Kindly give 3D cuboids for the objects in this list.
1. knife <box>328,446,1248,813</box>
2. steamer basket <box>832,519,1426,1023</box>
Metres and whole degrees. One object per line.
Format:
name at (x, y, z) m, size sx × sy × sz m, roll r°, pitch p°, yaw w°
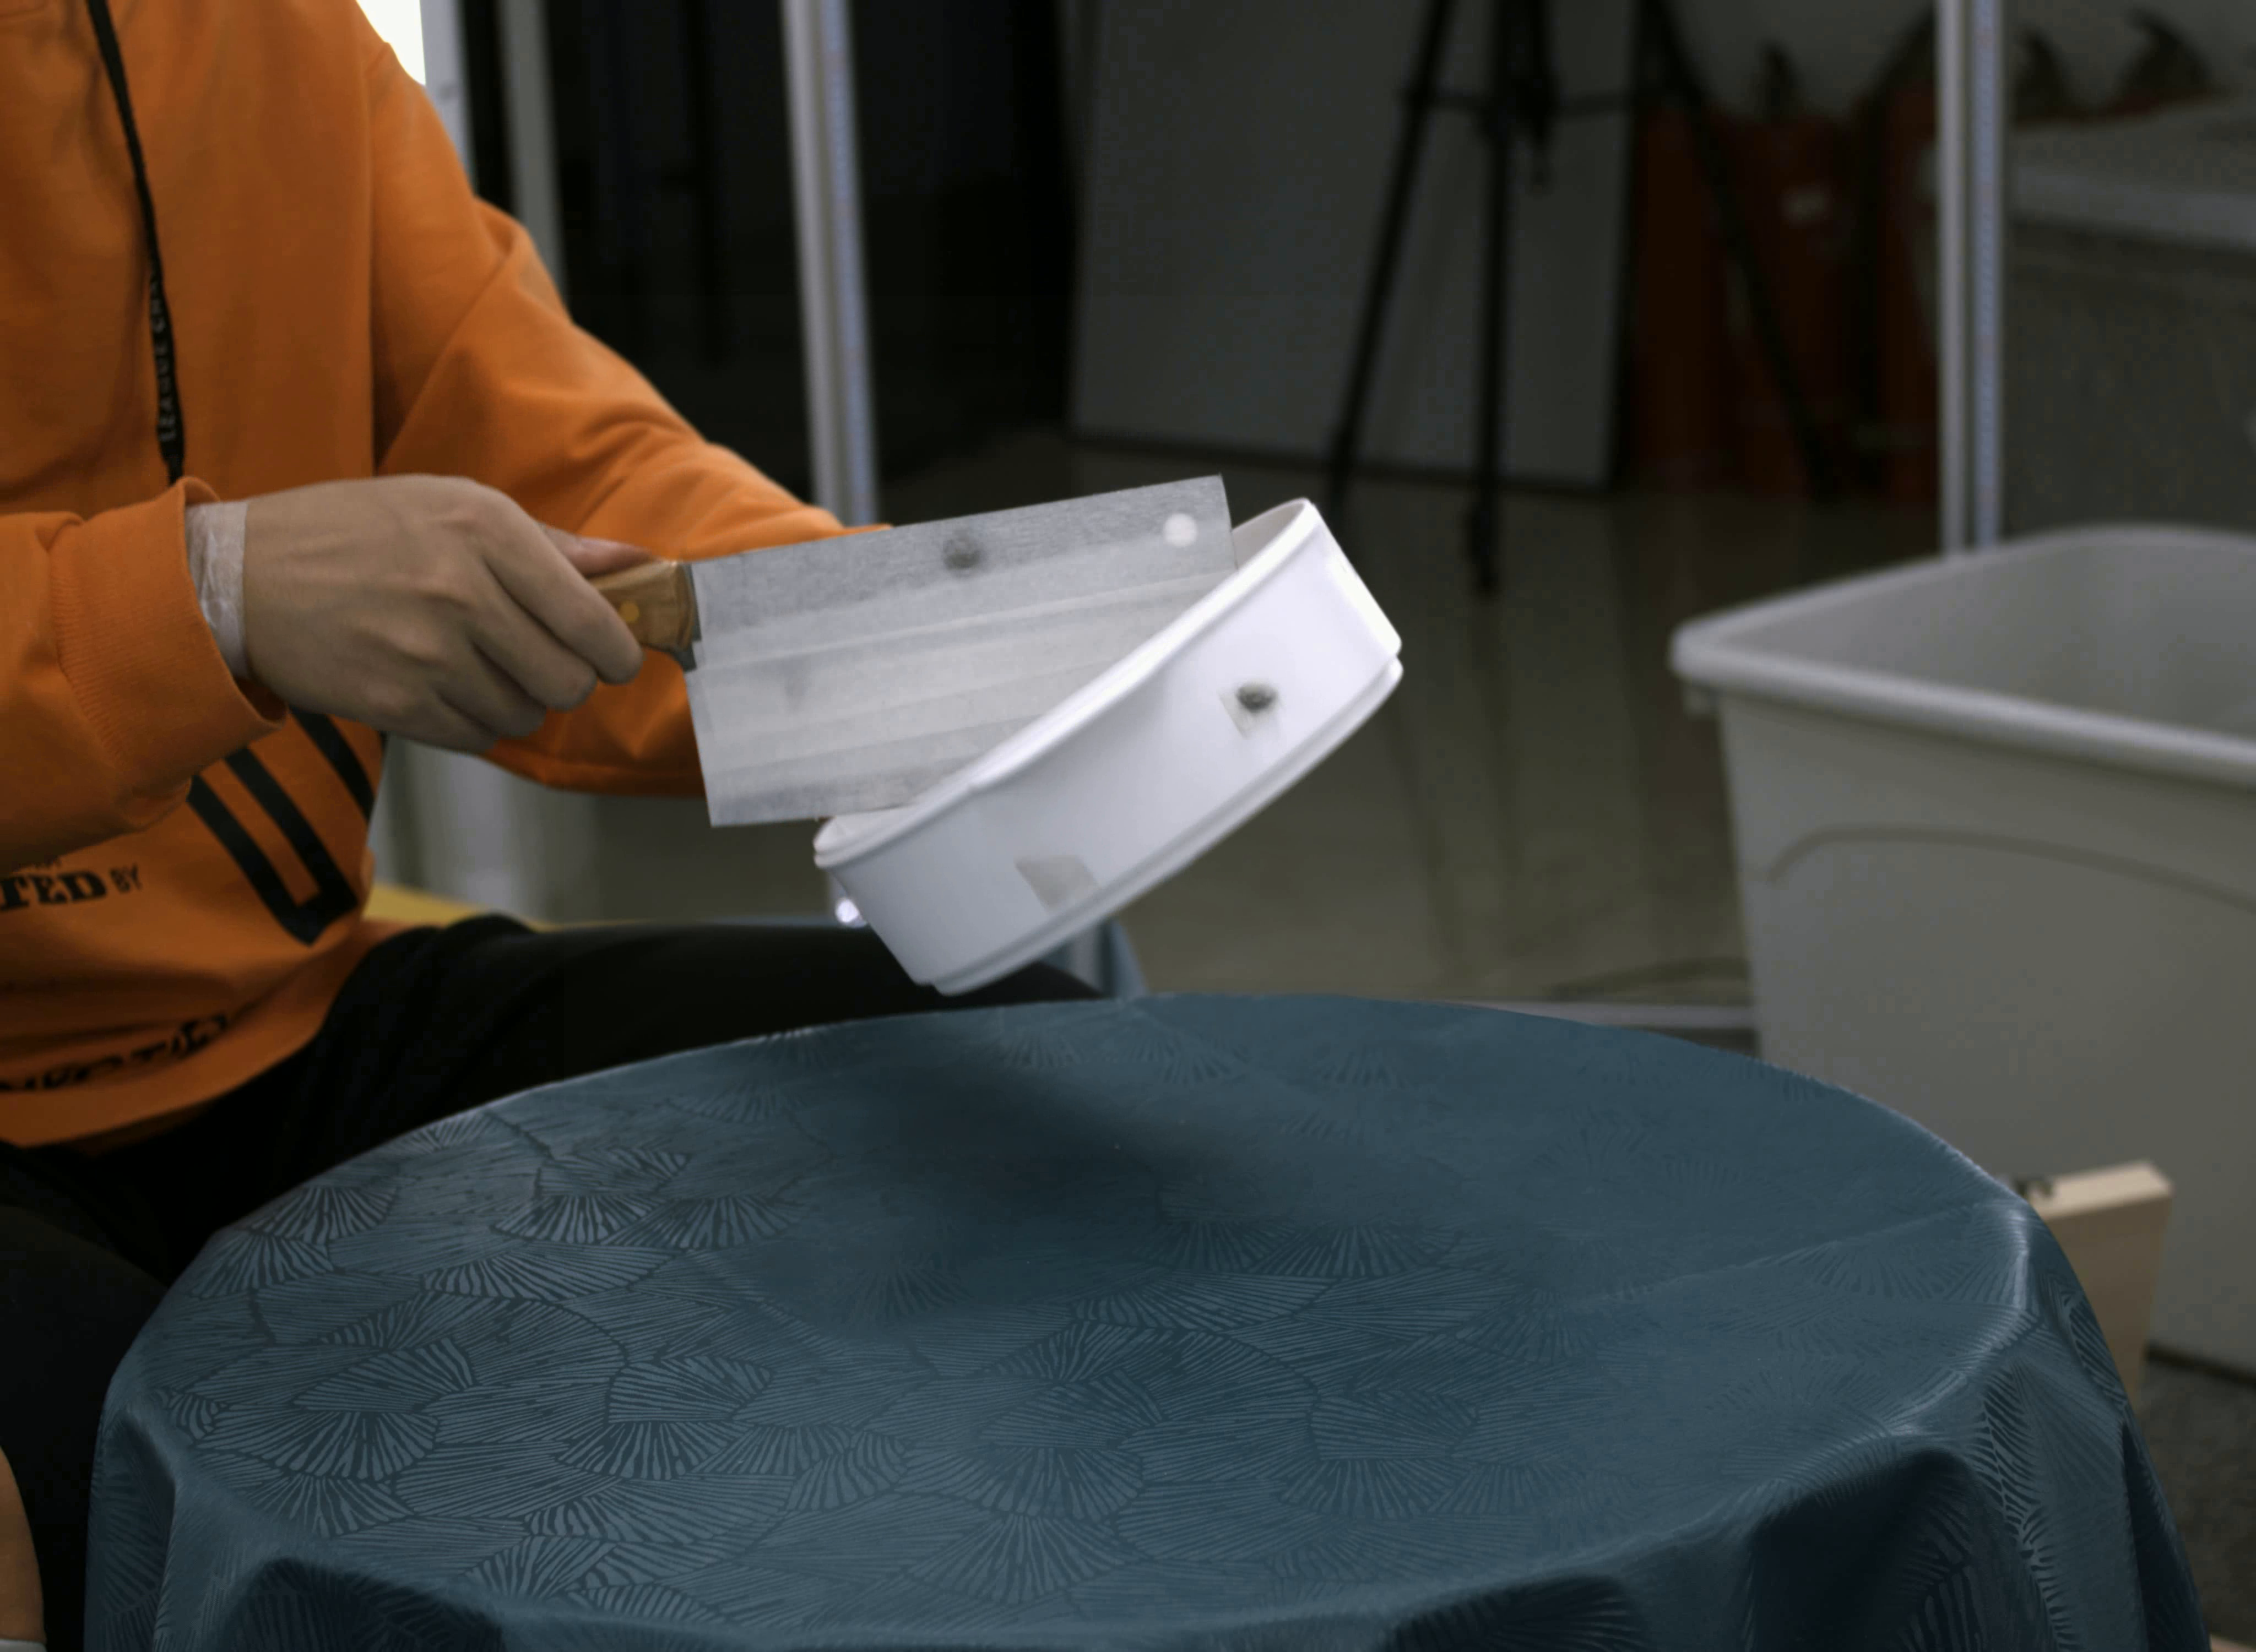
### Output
knife at (-0.110, -0.054, 1.761) m, size 0.304 × 0.094 × 0.021 m, roll -10°, pitch 10°, yaw 12°
steamer basket at (0.003, -0.016, 1.730) m, size 0.201 × 0.069 × 0.231 m, roll -34°, pitch 10°, yaw 4°
